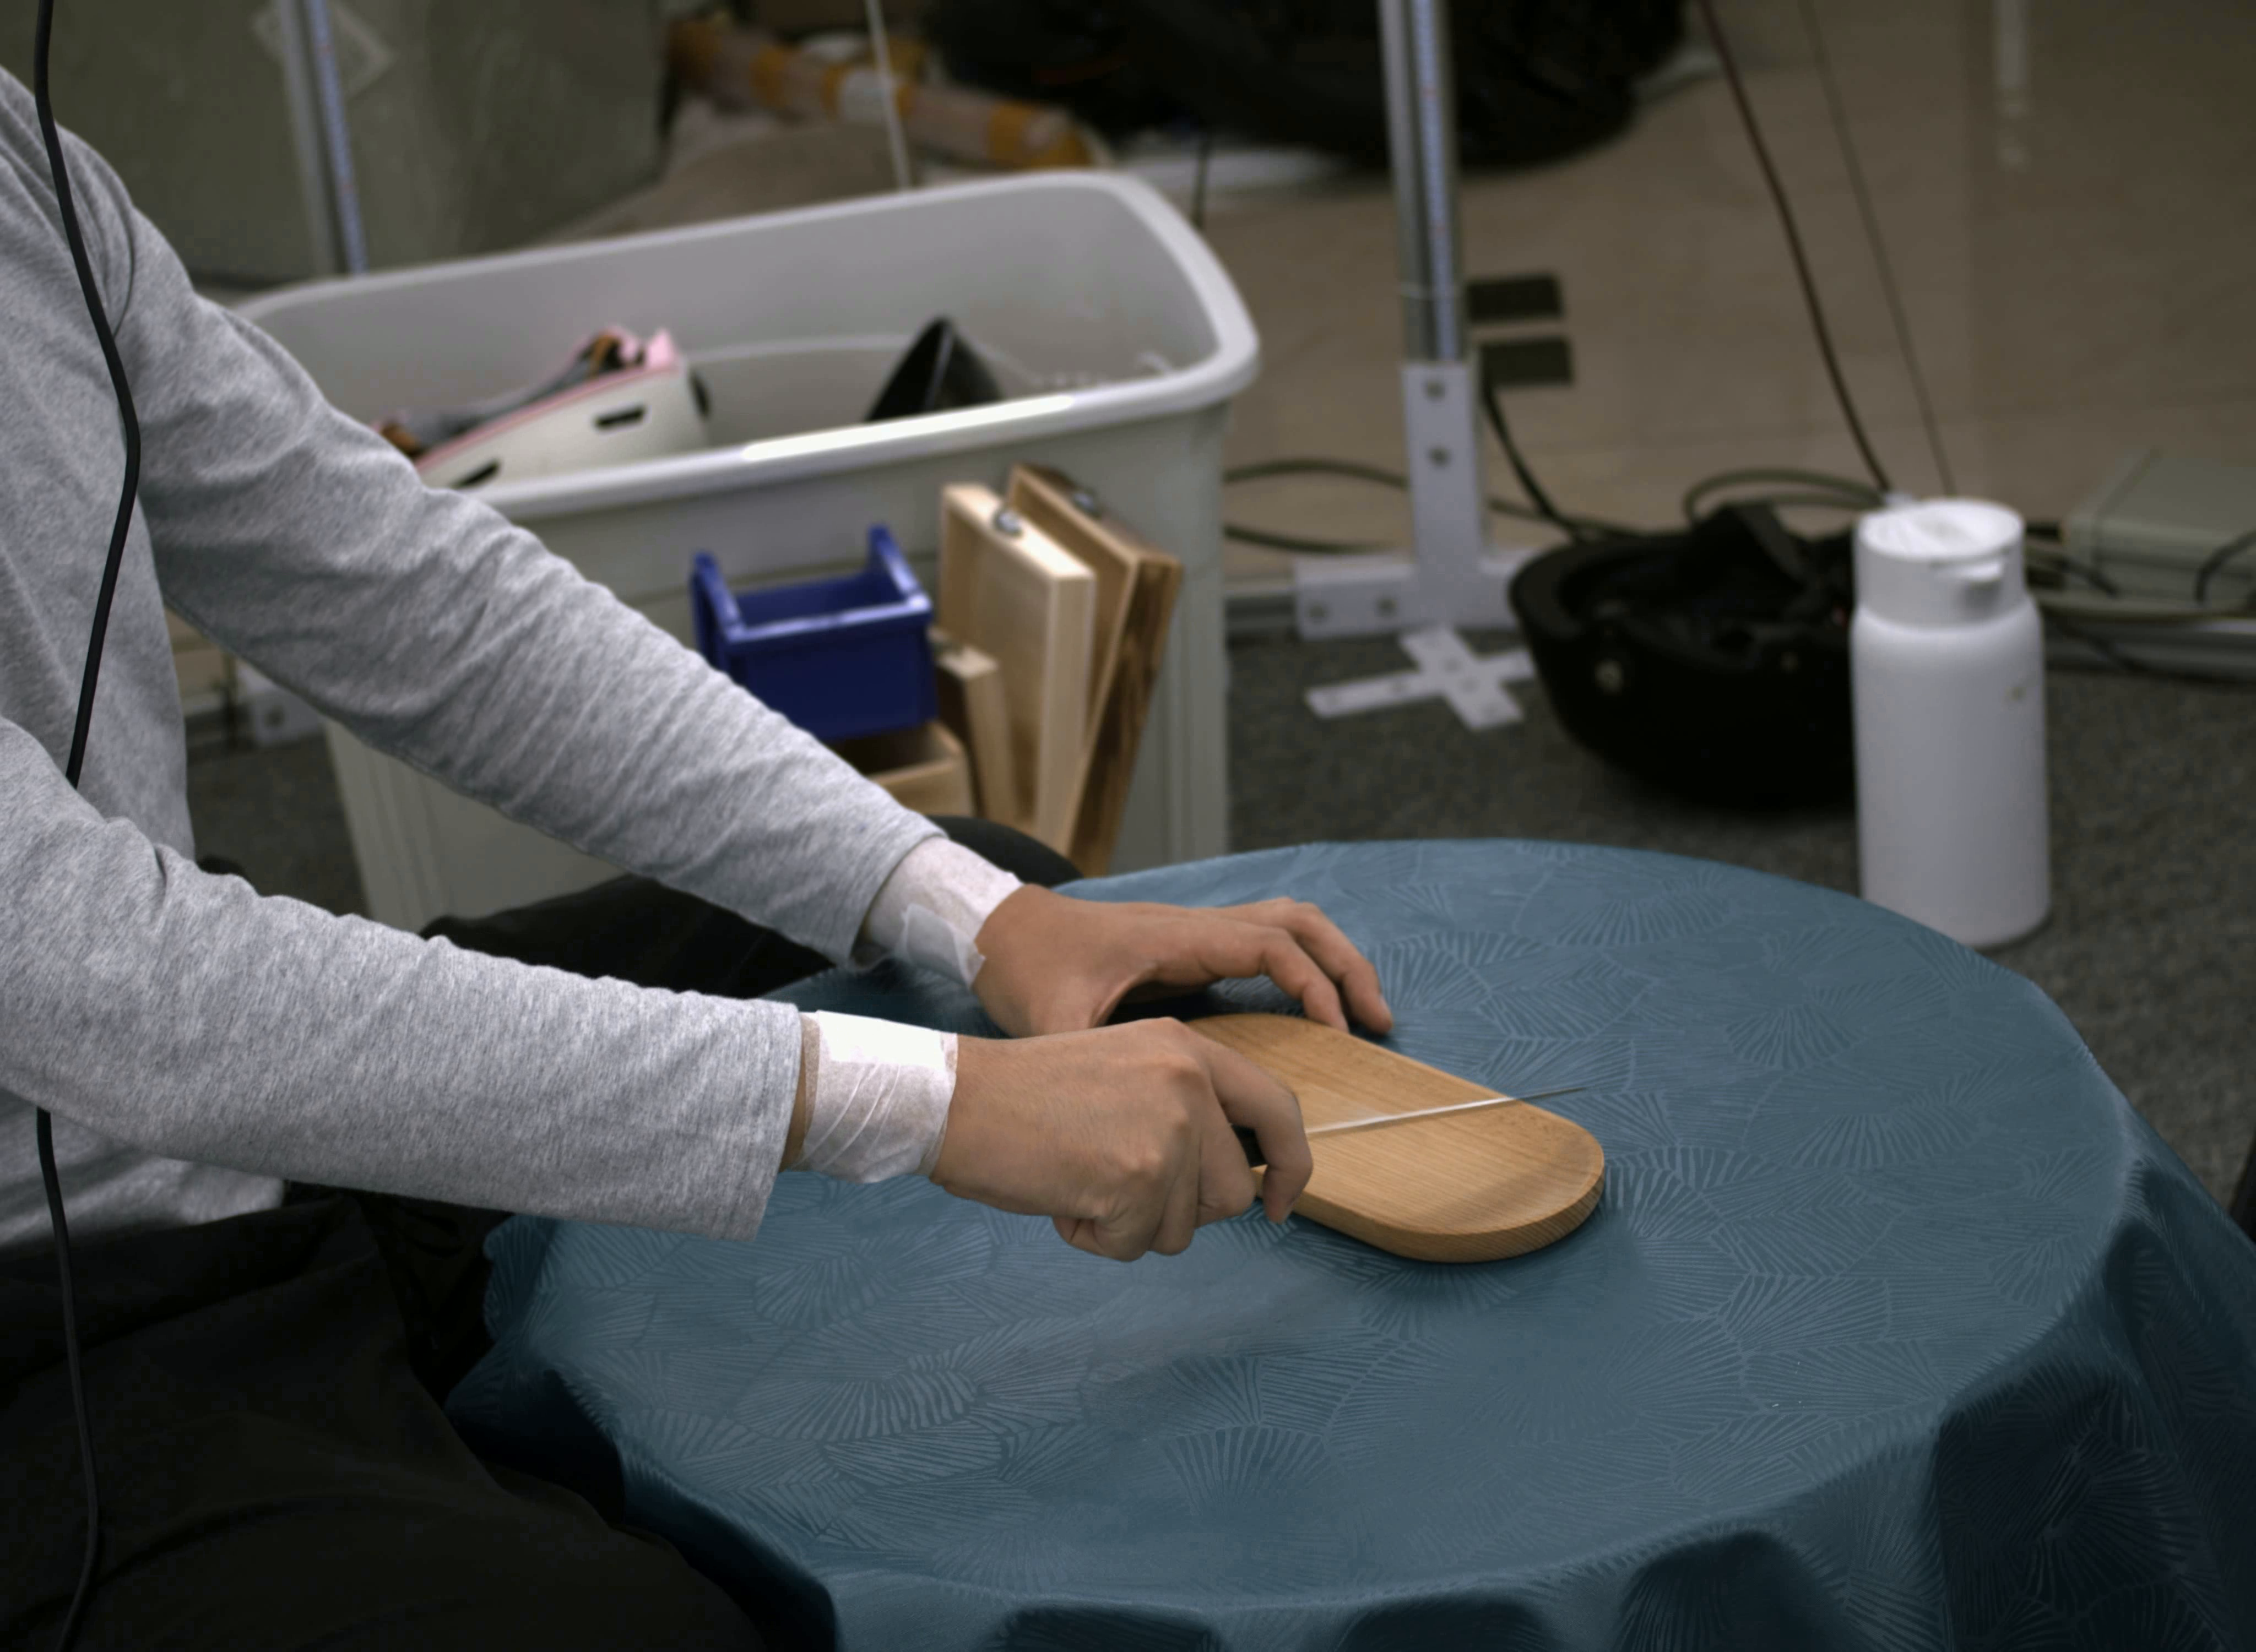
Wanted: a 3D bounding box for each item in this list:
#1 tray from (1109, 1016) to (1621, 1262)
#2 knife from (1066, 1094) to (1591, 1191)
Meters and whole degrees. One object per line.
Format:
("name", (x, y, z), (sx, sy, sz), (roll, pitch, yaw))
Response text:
("tray", (0.088, 0.118, 2.157), (0.101, 0.020, 0.229), (-28, 34, -36))
("knife", (0.078, 0.110, 2.051), (0.237, 0.016, 0.024), (-6, -12, -36))
